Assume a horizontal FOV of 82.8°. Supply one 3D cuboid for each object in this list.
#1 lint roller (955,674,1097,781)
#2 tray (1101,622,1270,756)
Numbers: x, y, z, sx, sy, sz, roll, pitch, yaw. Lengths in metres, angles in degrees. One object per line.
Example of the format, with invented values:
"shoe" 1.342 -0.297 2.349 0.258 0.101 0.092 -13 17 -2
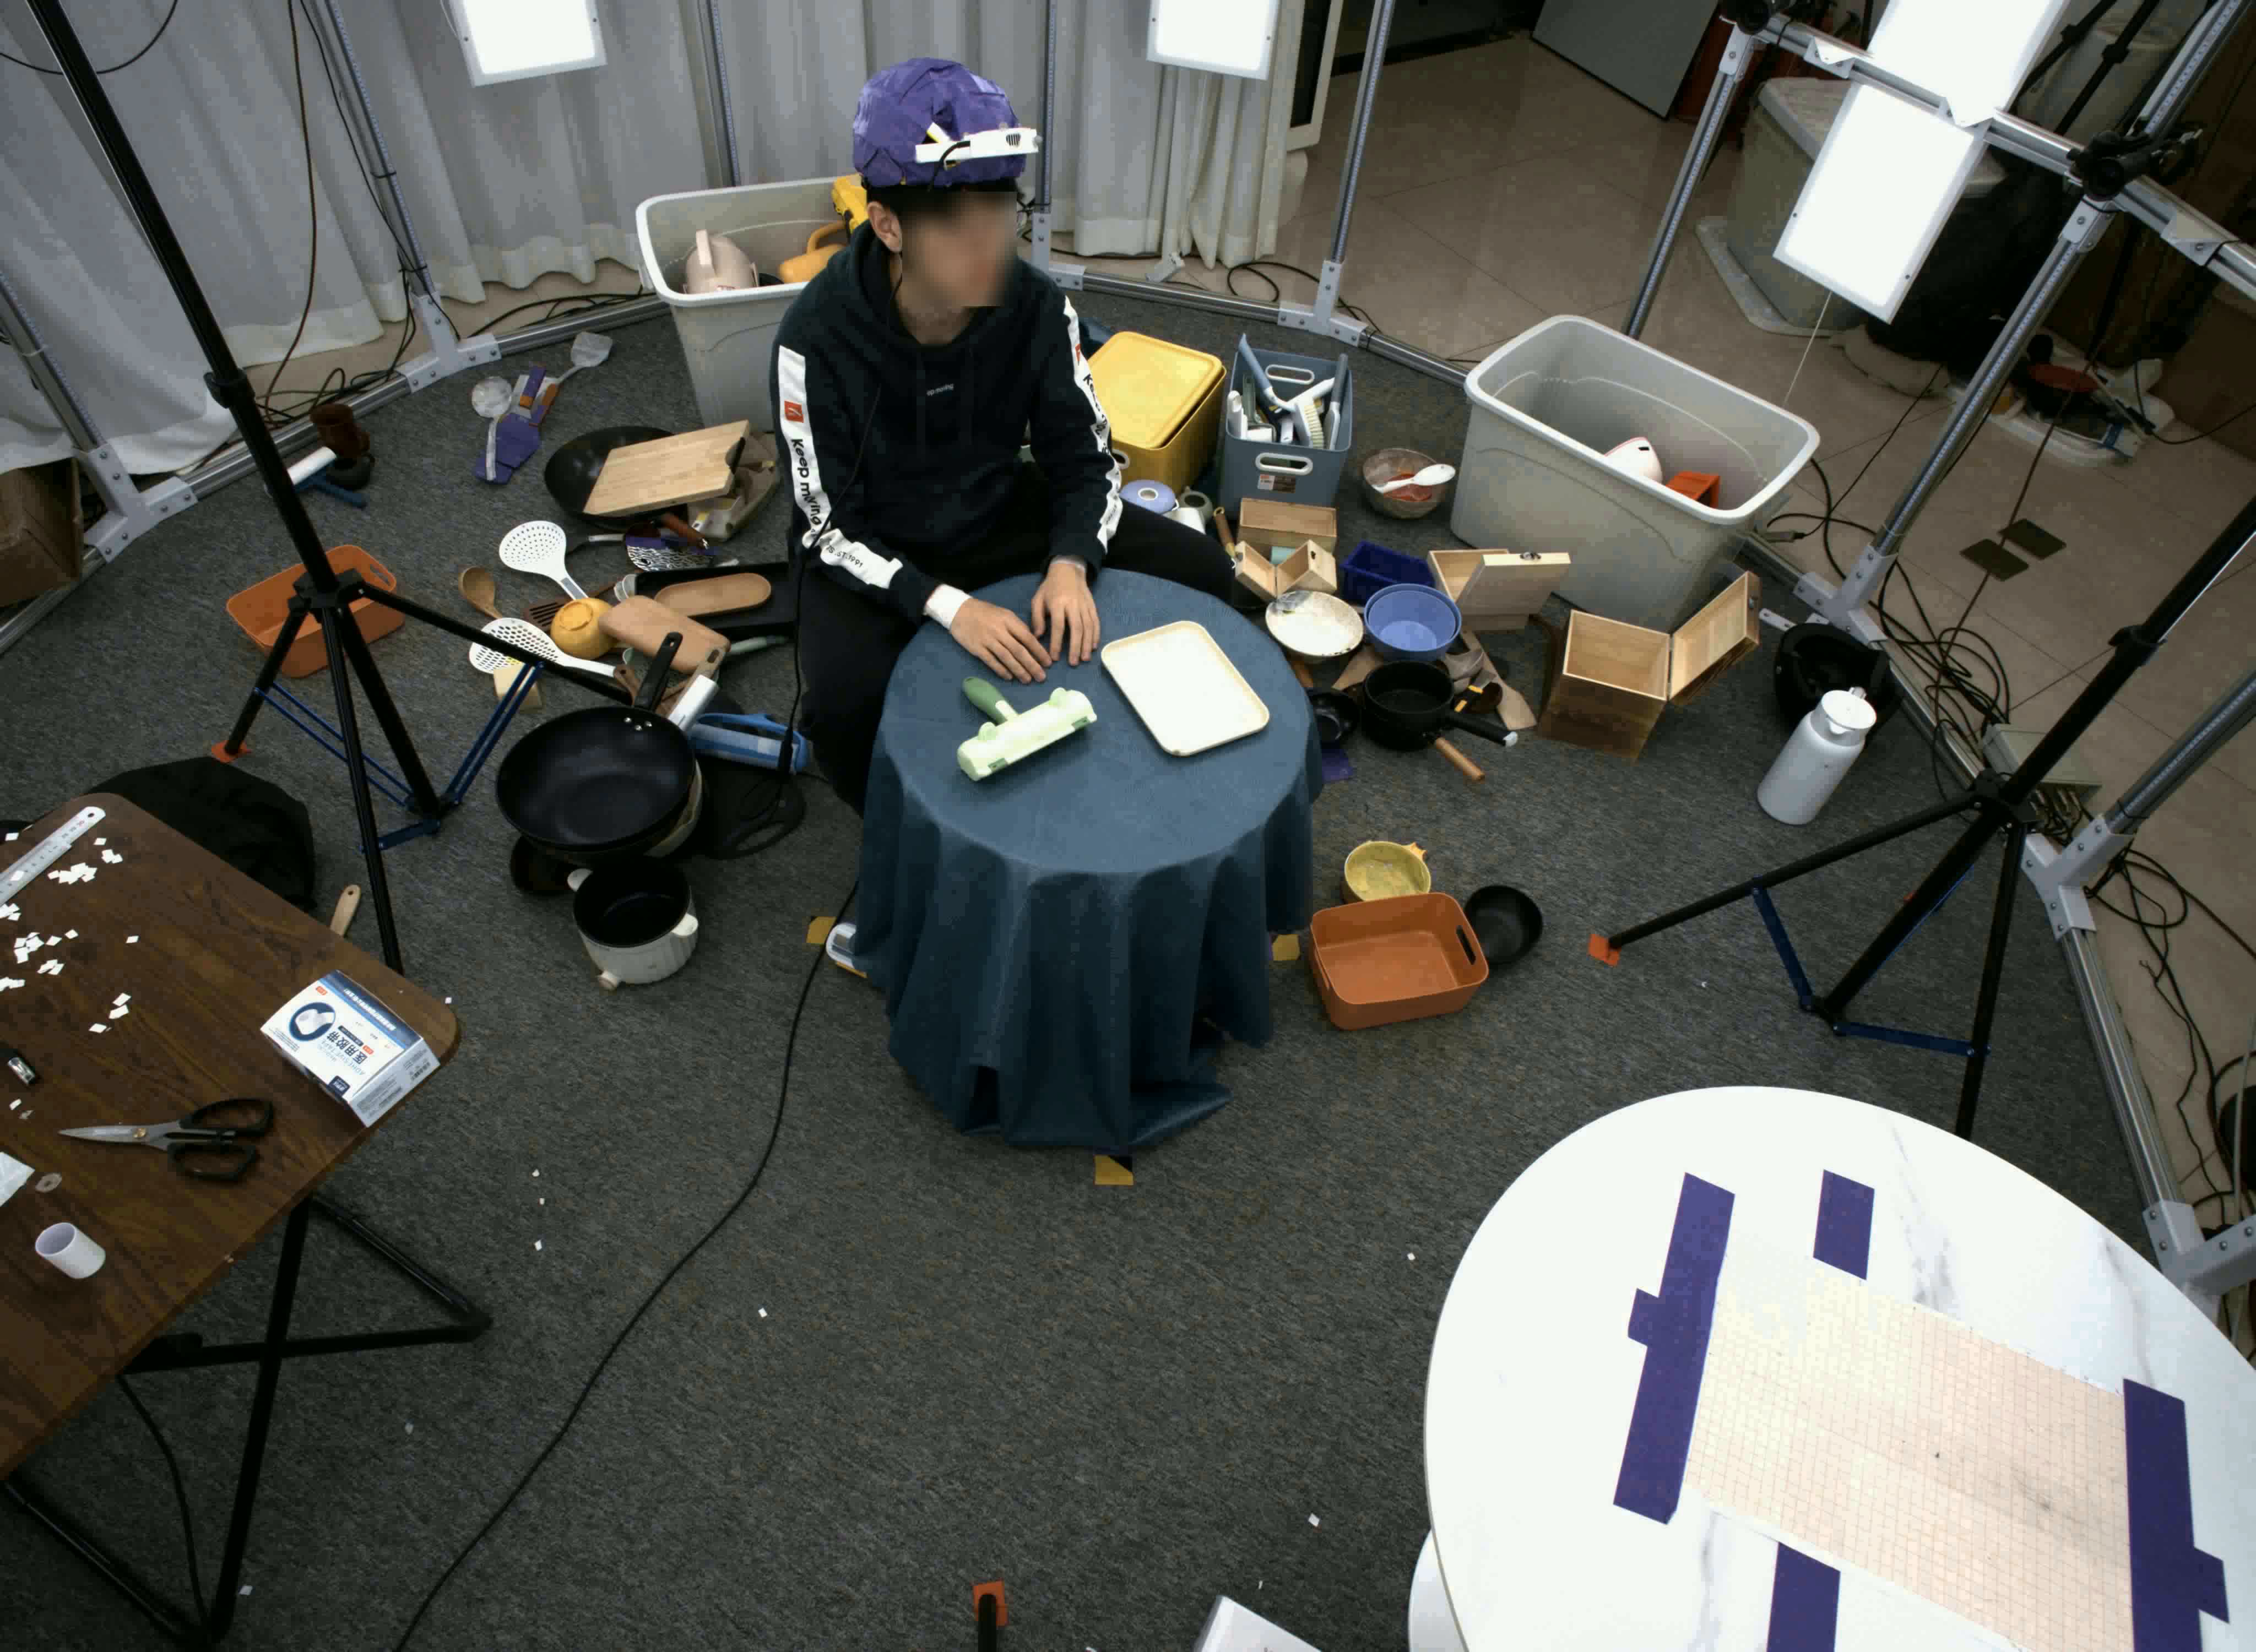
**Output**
"lint roller" -0.170 -0.165 1.750 0.200 0.080 0.186 -29 61 -25
"tray" 0.080 -0.198 1.833 0.171 0.017 0.245 -19 53 -20
